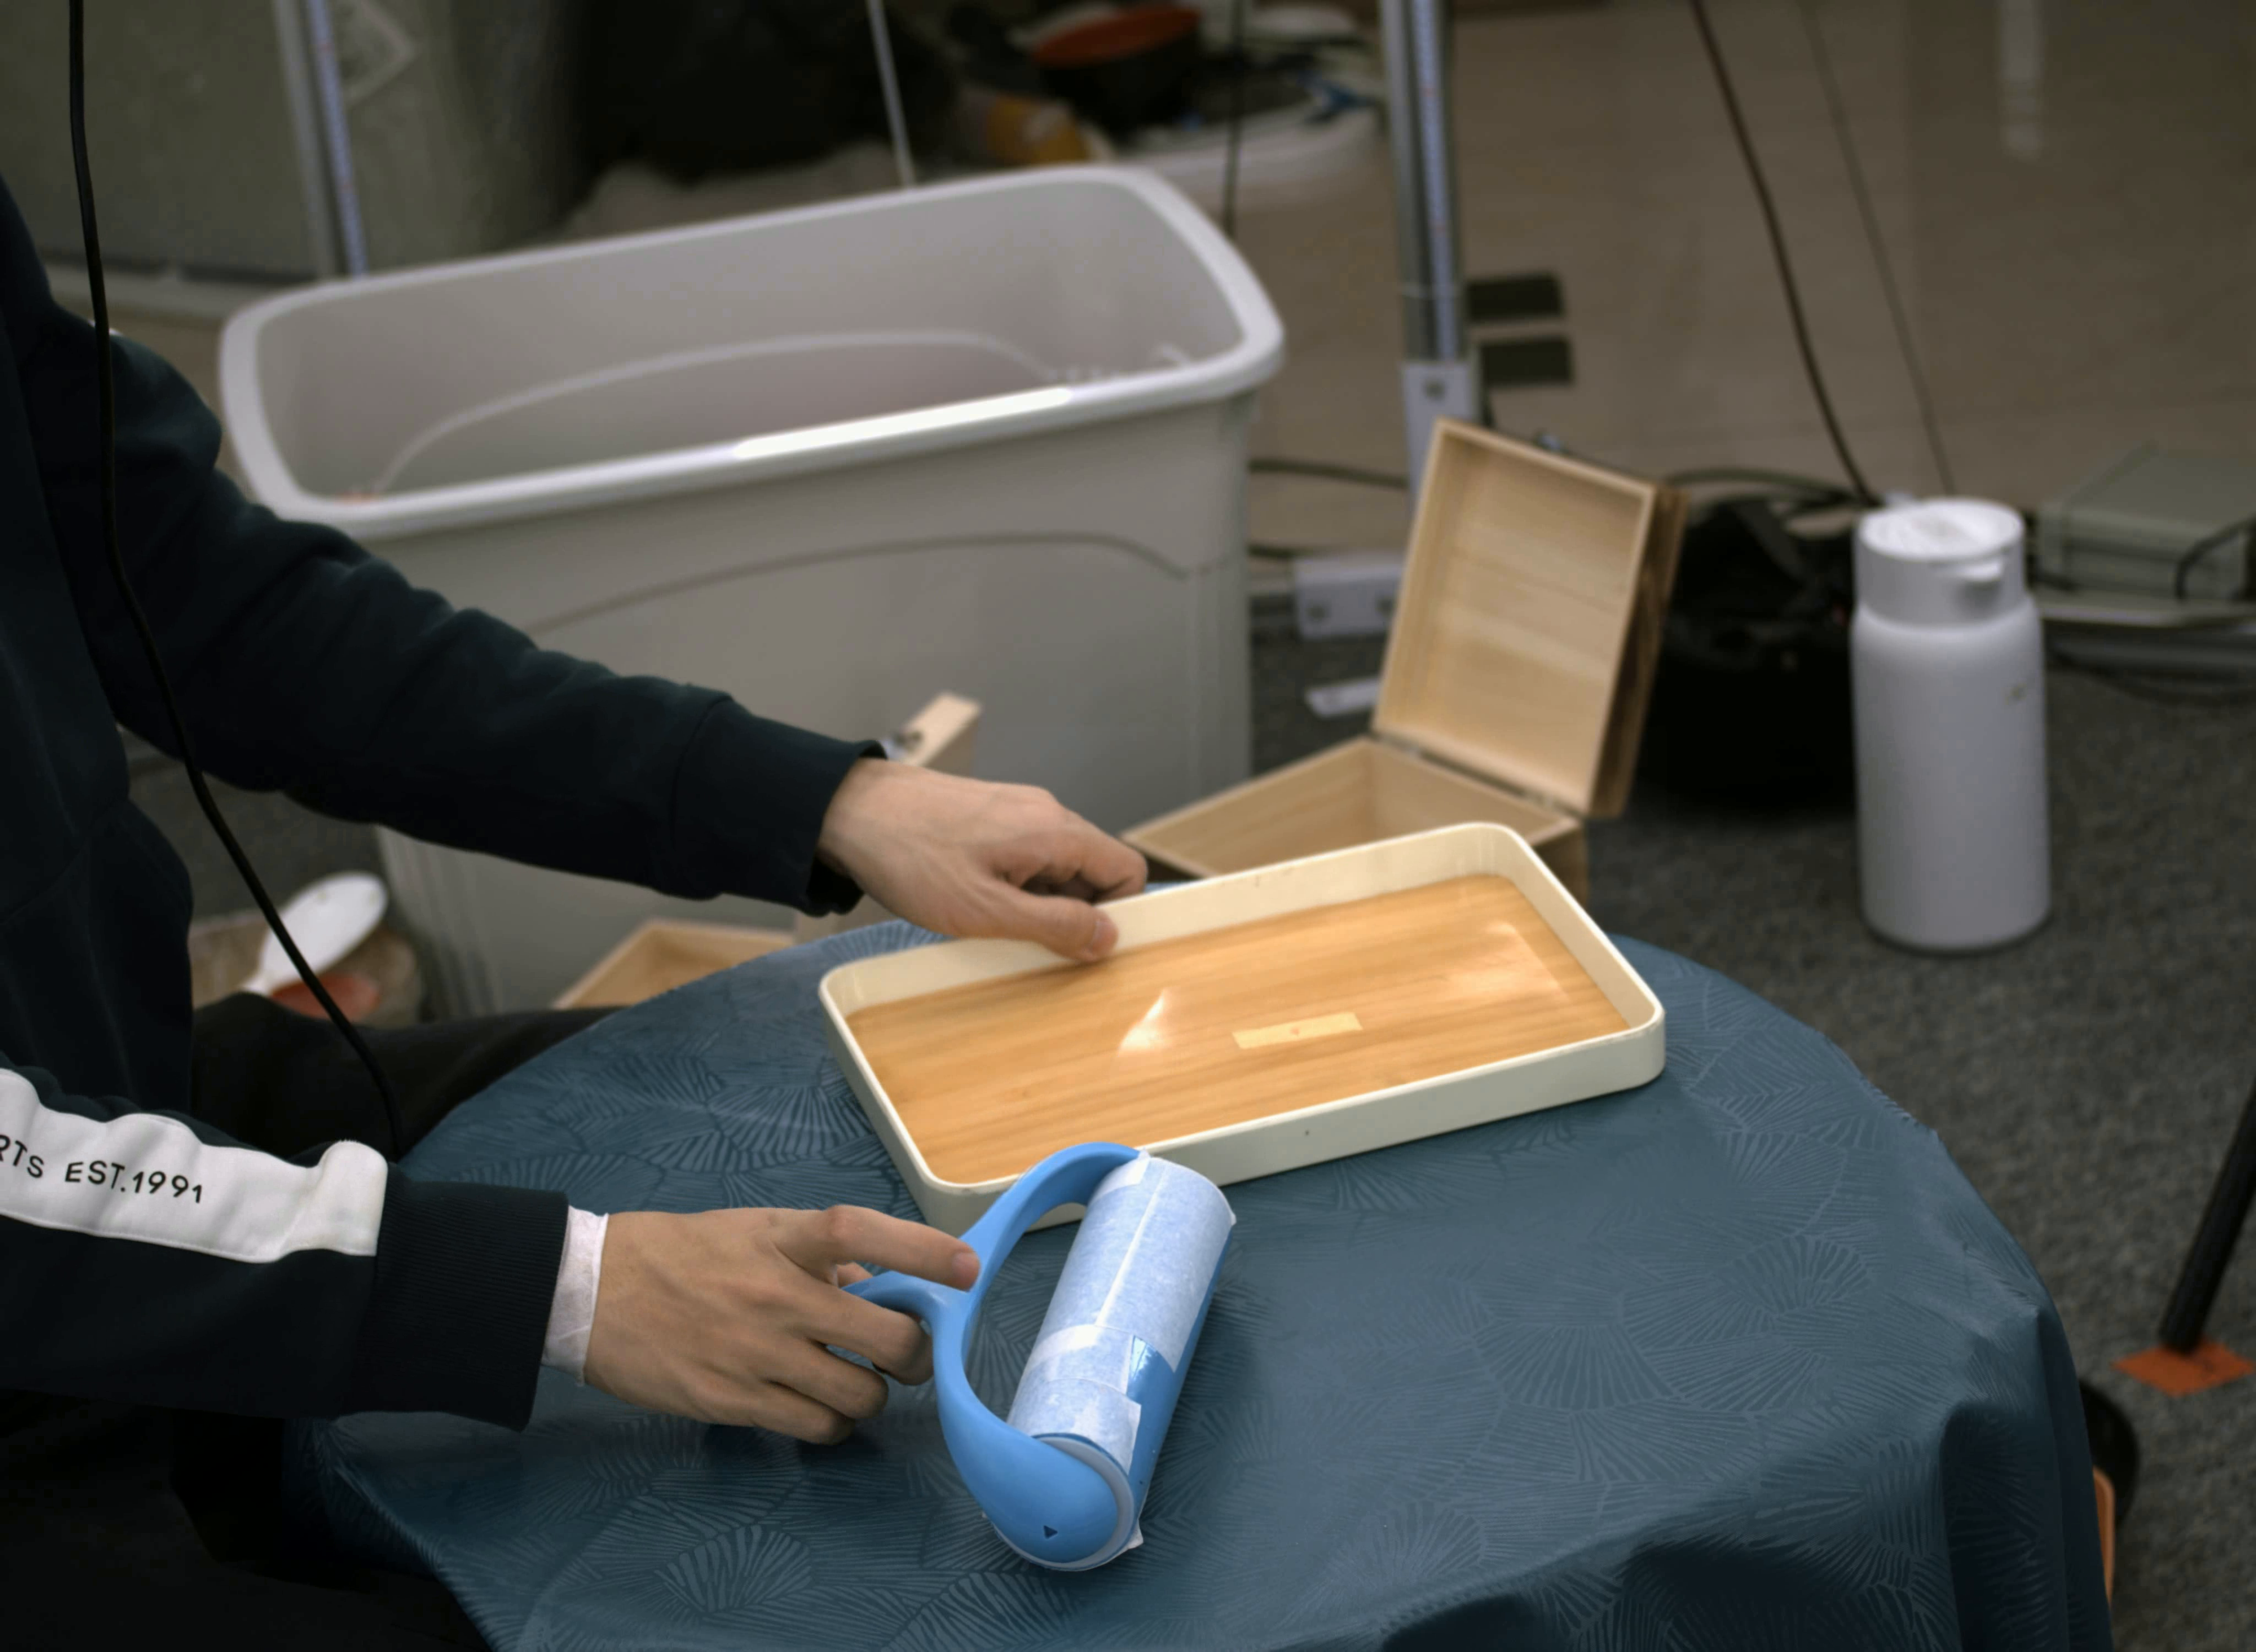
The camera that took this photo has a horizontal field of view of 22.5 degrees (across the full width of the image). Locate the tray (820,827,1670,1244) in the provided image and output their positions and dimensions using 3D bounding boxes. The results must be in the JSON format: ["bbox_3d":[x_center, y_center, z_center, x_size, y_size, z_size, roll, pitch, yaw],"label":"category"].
[{"bbox_3d":[0.044,0.079,2.220,0.299,0.028,0.189,-13,28,-13],"label":"tray"}]

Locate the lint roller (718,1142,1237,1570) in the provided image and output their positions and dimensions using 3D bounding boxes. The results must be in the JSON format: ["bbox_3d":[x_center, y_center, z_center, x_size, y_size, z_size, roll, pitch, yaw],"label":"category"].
[{"bbox_3d":[-0.060,0.186,1.992,0.180,0.069,0.225,-2,28,8],"label":"lint roller"}]
